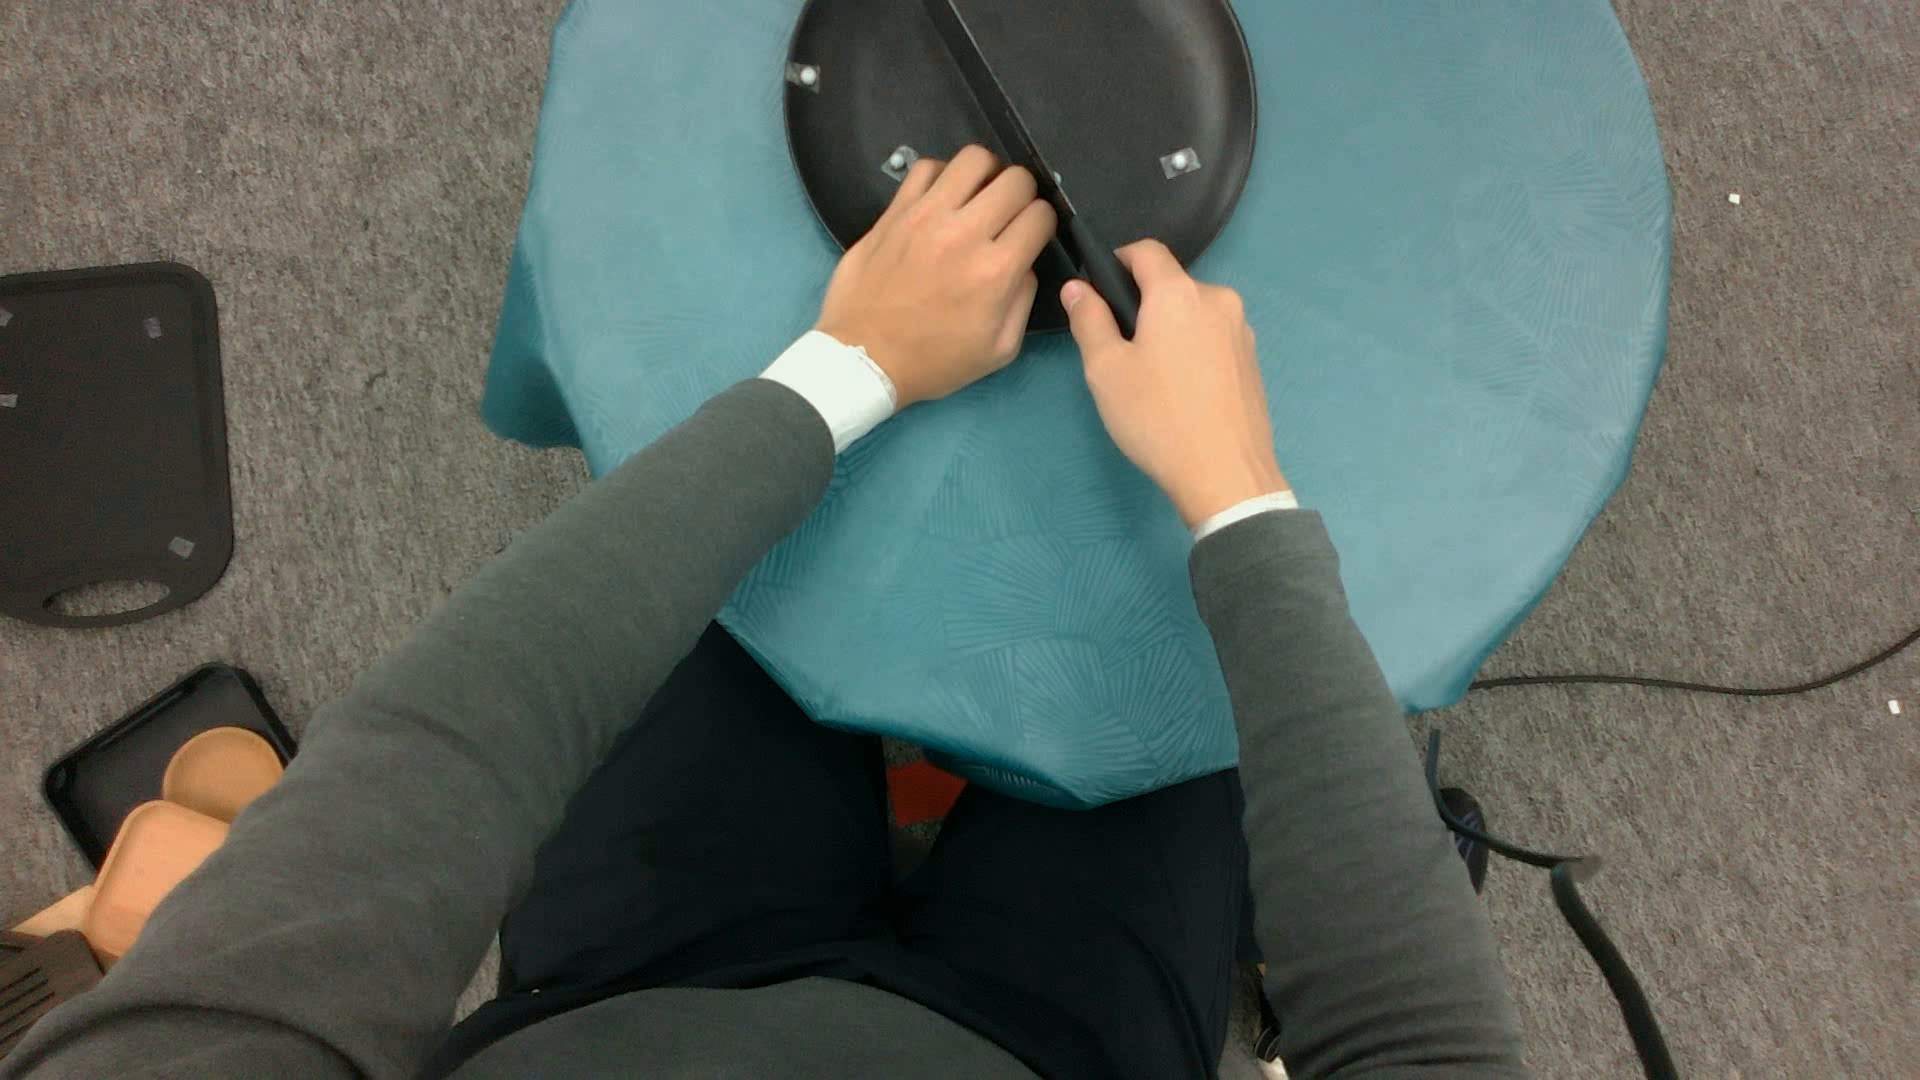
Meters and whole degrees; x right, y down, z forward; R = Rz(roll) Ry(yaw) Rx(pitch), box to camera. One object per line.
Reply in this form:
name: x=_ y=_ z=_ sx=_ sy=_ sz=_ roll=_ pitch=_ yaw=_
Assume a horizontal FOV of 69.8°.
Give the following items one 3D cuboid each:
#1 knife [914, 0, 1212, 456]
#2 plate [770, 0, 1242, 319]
knife: x=0.037 y=-0.173 z=0.668 sx=0.021 sy=0.081 sz=0.302 roll=-30 pitch=81 yaw=-1
plate: x=0.024 y=-0.230 z=0.713 sx=0.244 sy=0.023 sz=0.244 roll=1 pitch=82 yaw=-4
